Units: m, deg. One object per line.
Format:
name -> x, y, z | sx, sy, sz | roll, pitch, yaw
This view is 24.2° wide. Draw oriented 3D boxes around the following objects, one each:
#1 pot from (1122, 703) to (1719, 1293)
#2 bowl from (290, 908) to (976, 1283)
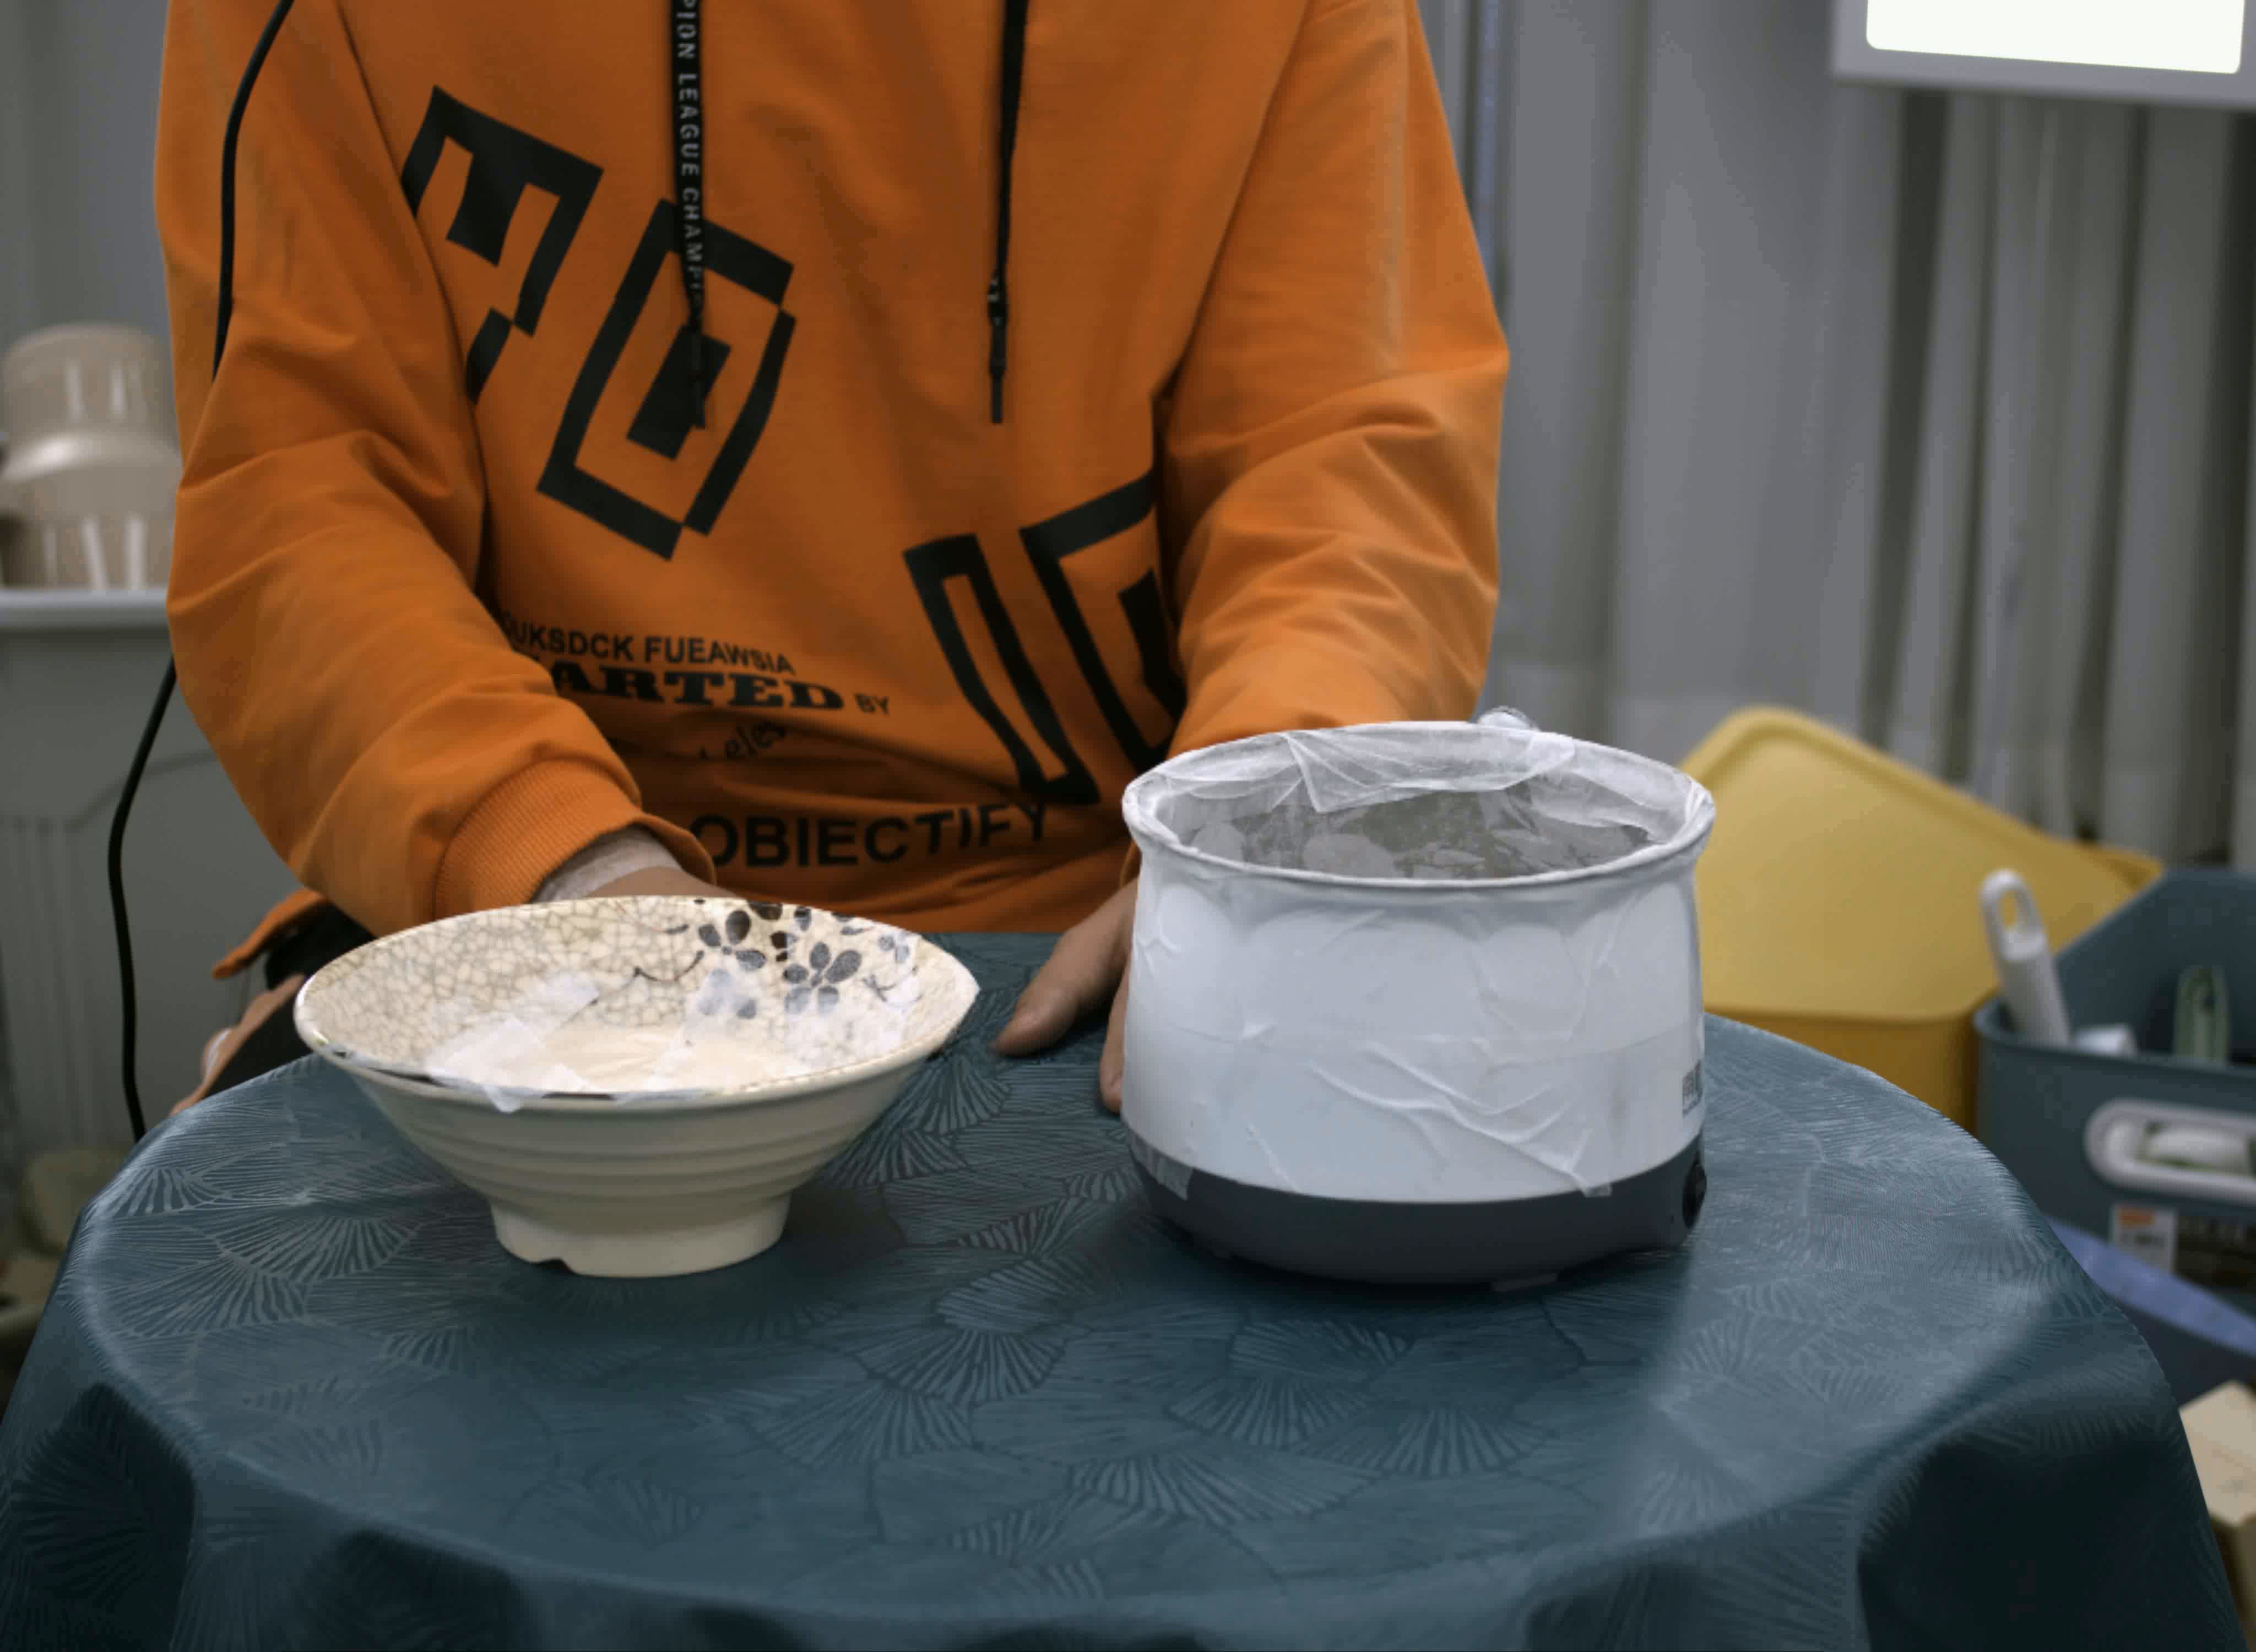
pot -> 0.095, 0.046, 1.607 | 0.177, 0.138, 0.233 | 6, 17, 16
bowl -> -0.146, 0.086, 1.572 | 0.203, 0.078, 0.203 | 0, 14, 1
